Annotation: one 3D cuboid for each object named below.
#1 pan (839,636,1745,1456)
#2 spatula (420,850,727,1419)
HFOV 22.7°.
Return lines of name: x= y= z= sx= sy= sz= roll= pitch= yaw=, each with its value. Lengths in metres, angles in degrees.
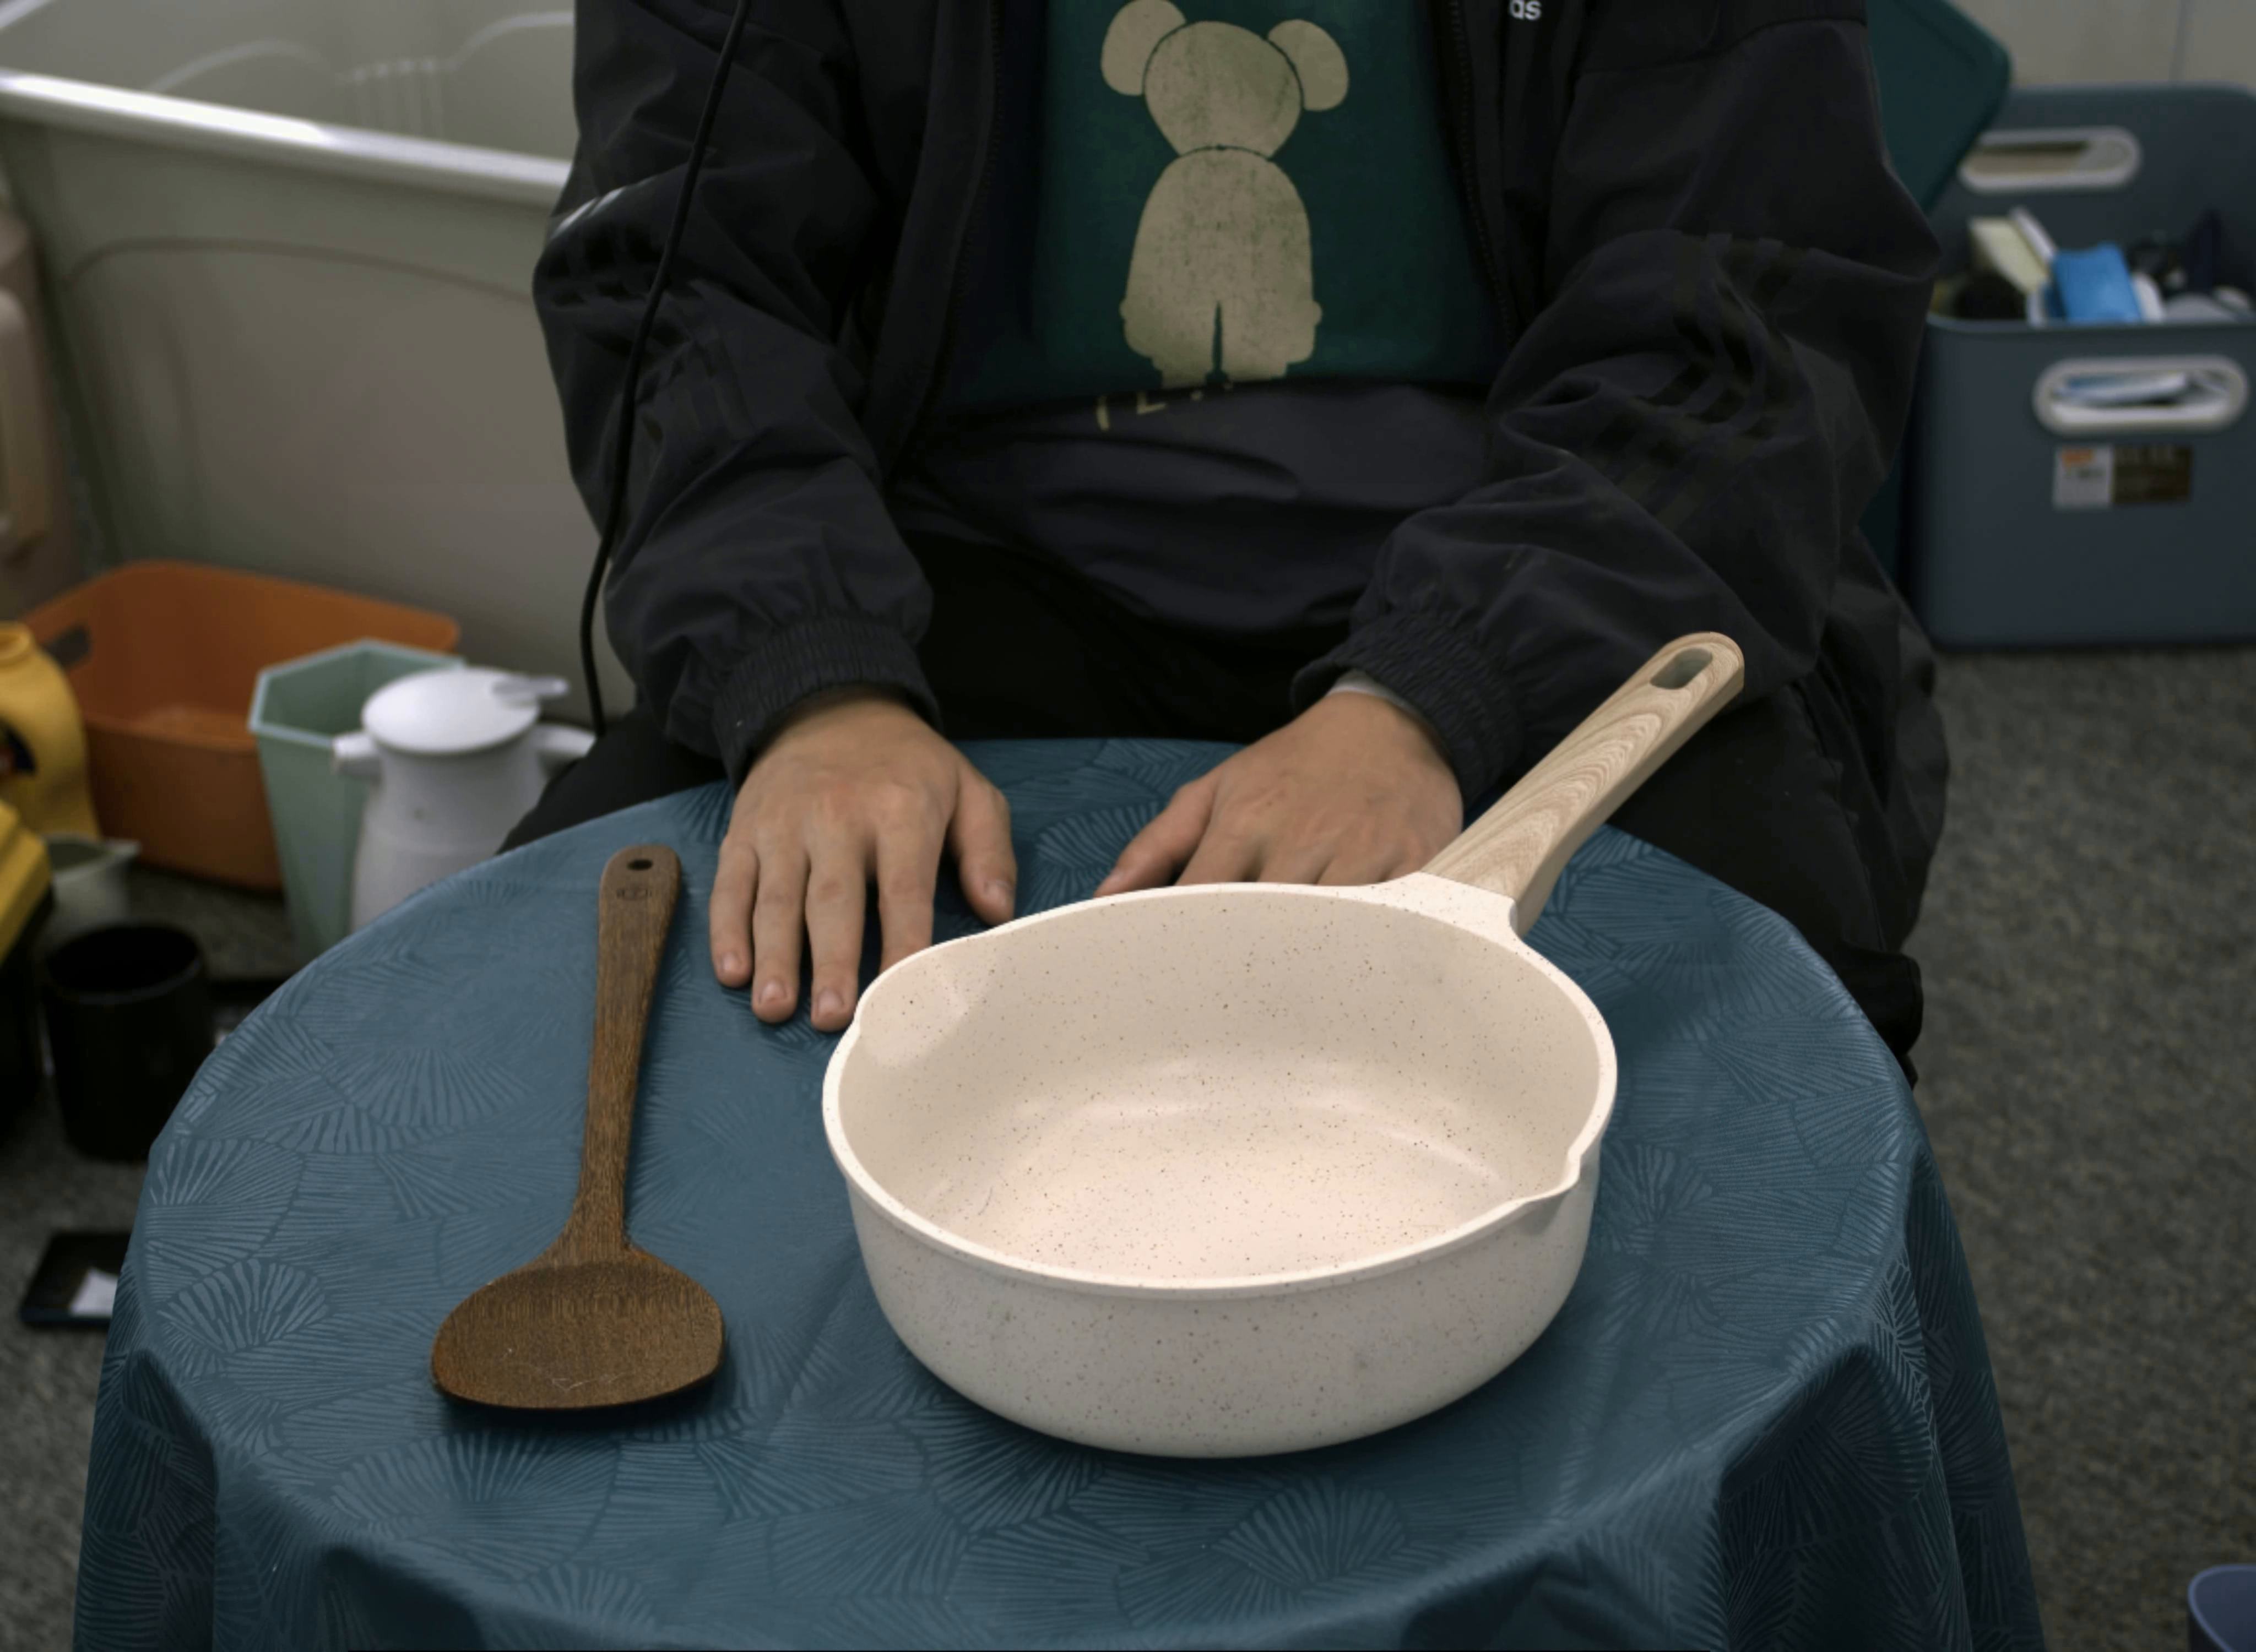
pan: x=0.089 y=0.068 z=1.844 sx=0.262 sy=0.101 sz=0.441 roll=14 pitch=32 yaw=33
spatula: x=-0.177 y=0.096 z=1.909 sx=0.095 sy=0.015 sz=0.391 roll=-2 pitch=27 yaw=0
